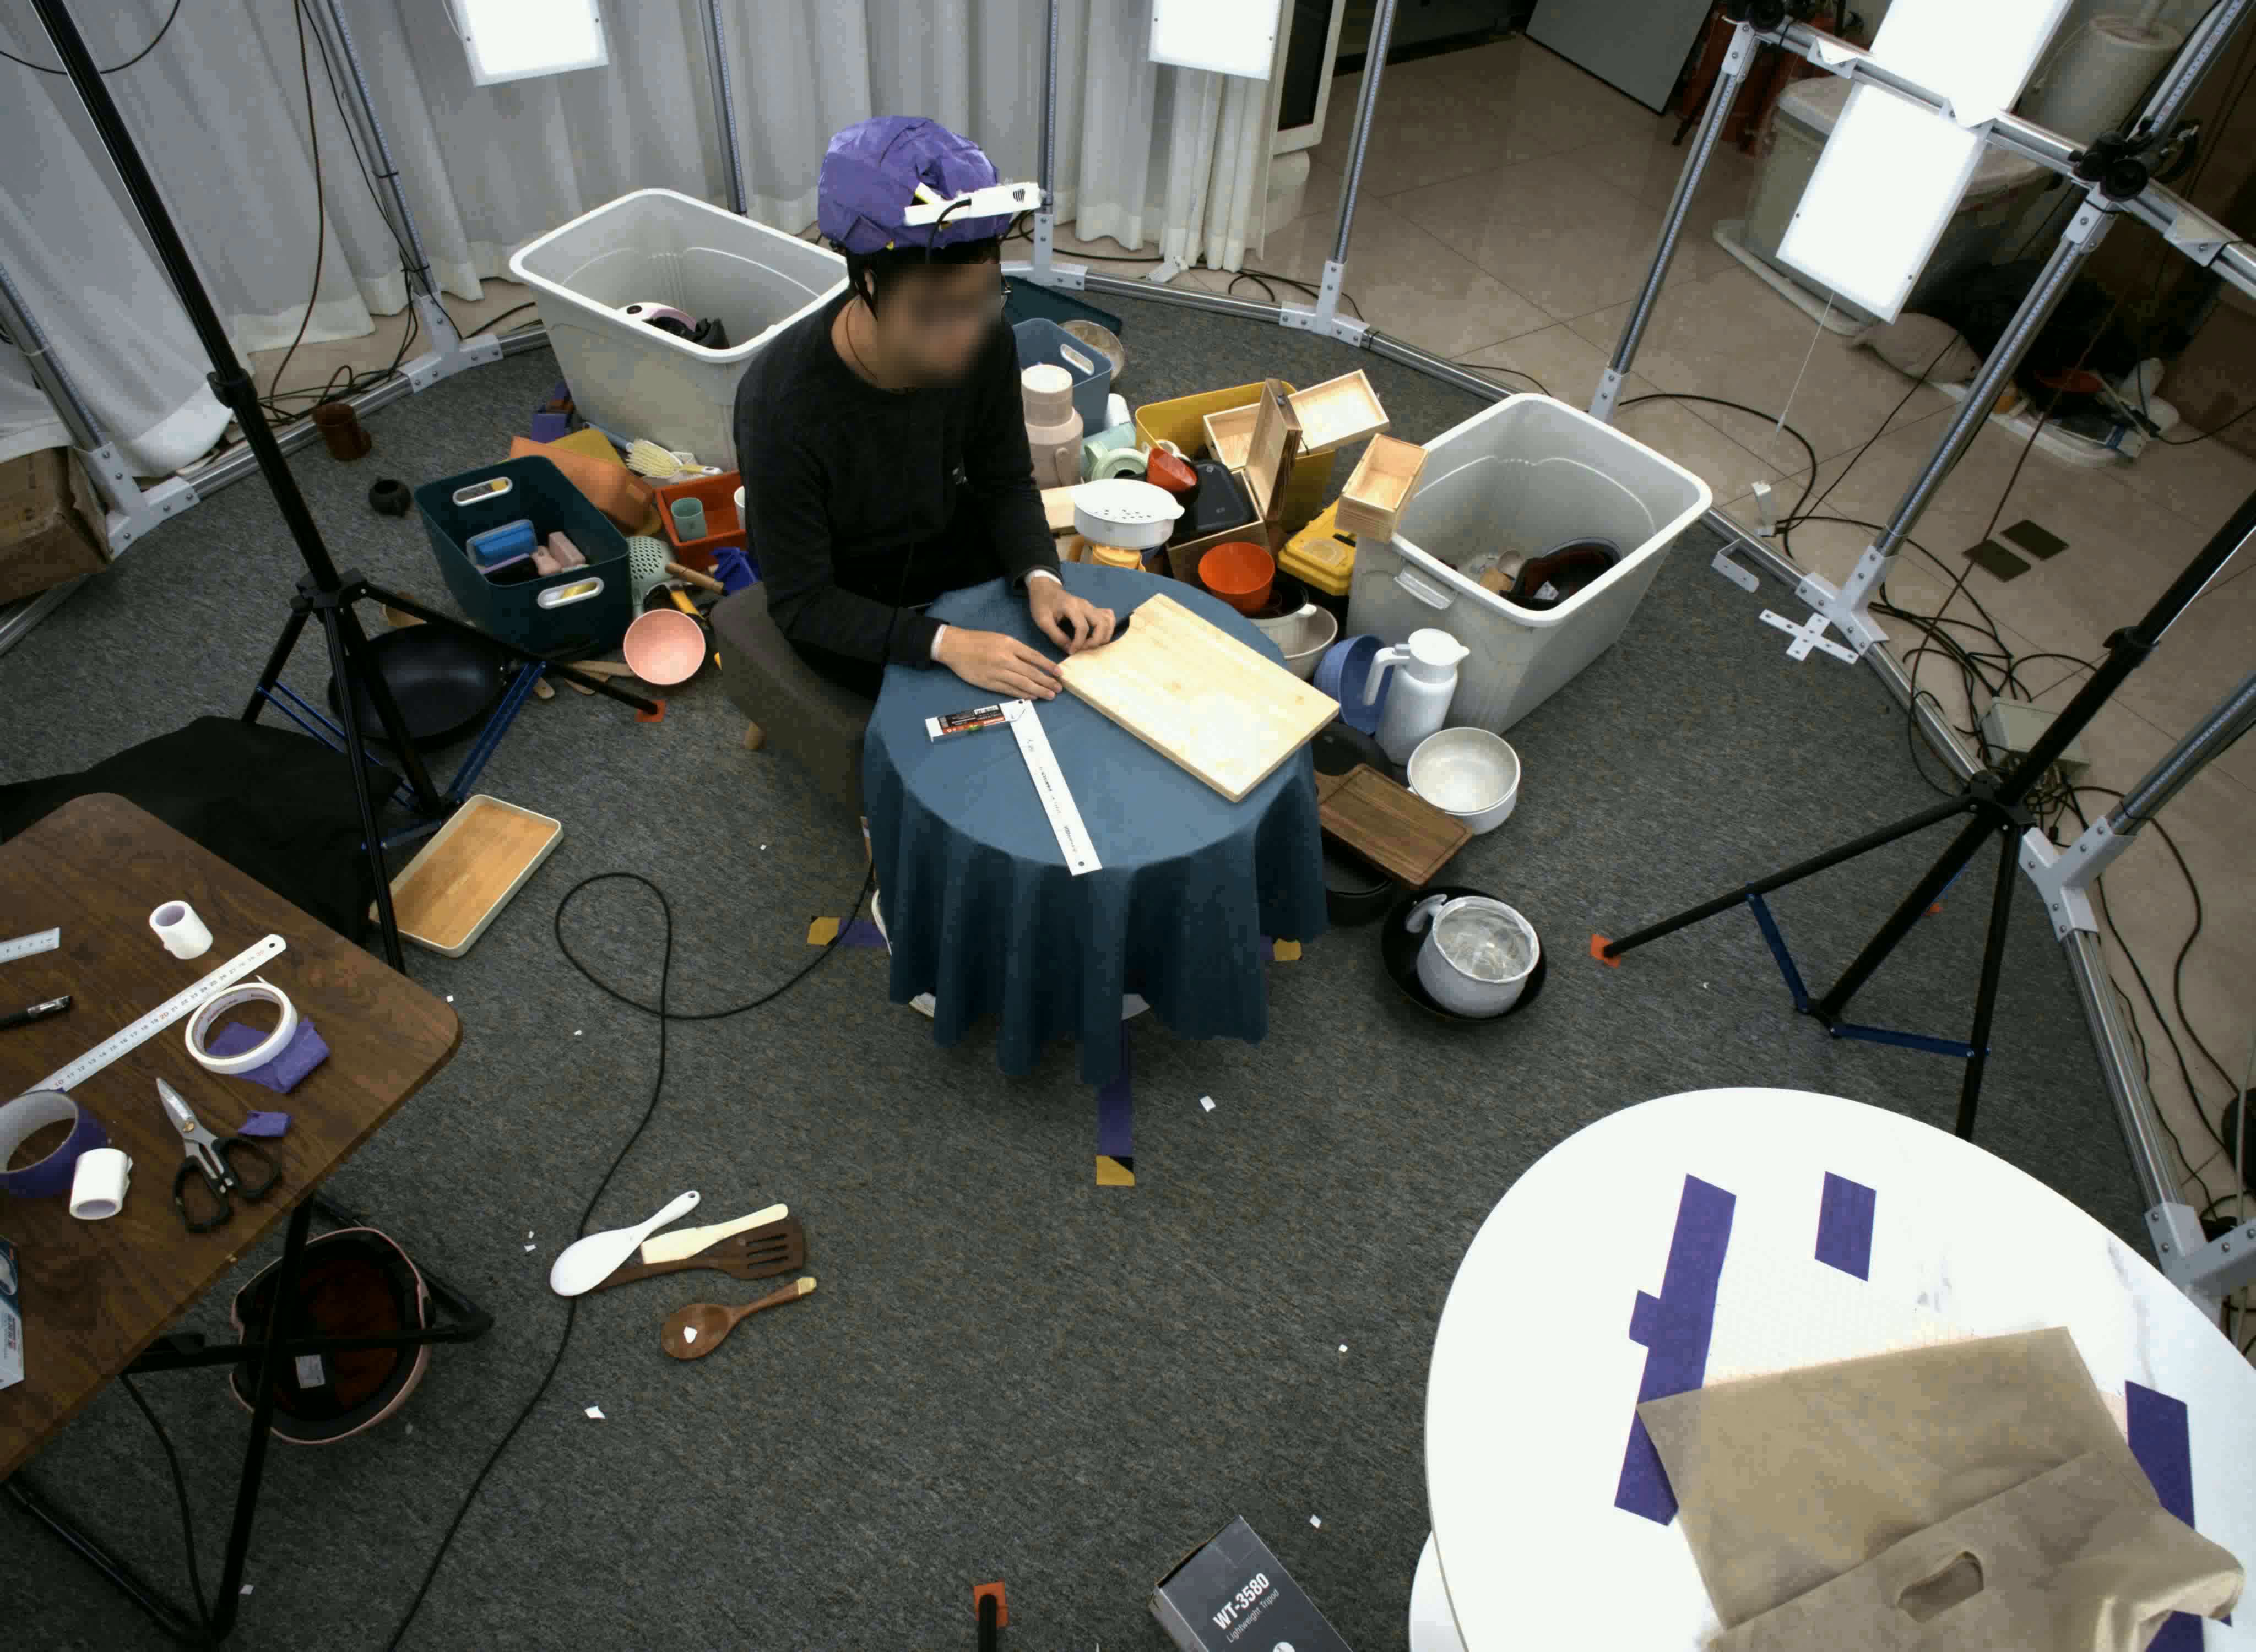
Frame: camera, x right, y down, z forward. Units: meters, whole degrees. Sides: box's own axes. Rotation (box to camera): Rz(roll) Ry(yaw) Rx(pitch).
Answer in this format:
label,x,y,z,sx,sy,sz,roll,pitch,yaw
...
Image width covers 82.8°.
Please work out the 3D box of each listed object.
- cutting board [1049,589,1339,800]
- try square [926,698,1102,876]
label,x,y,z,sx,sy,sz,roll,pitch,yaw
cutting board,0.092,-0.196,1.836,0.353,0.023,0.253,35,55,24
try square,-0.156,-0.046,1.695,0.152,0.015,0.320,-13,52,-14
